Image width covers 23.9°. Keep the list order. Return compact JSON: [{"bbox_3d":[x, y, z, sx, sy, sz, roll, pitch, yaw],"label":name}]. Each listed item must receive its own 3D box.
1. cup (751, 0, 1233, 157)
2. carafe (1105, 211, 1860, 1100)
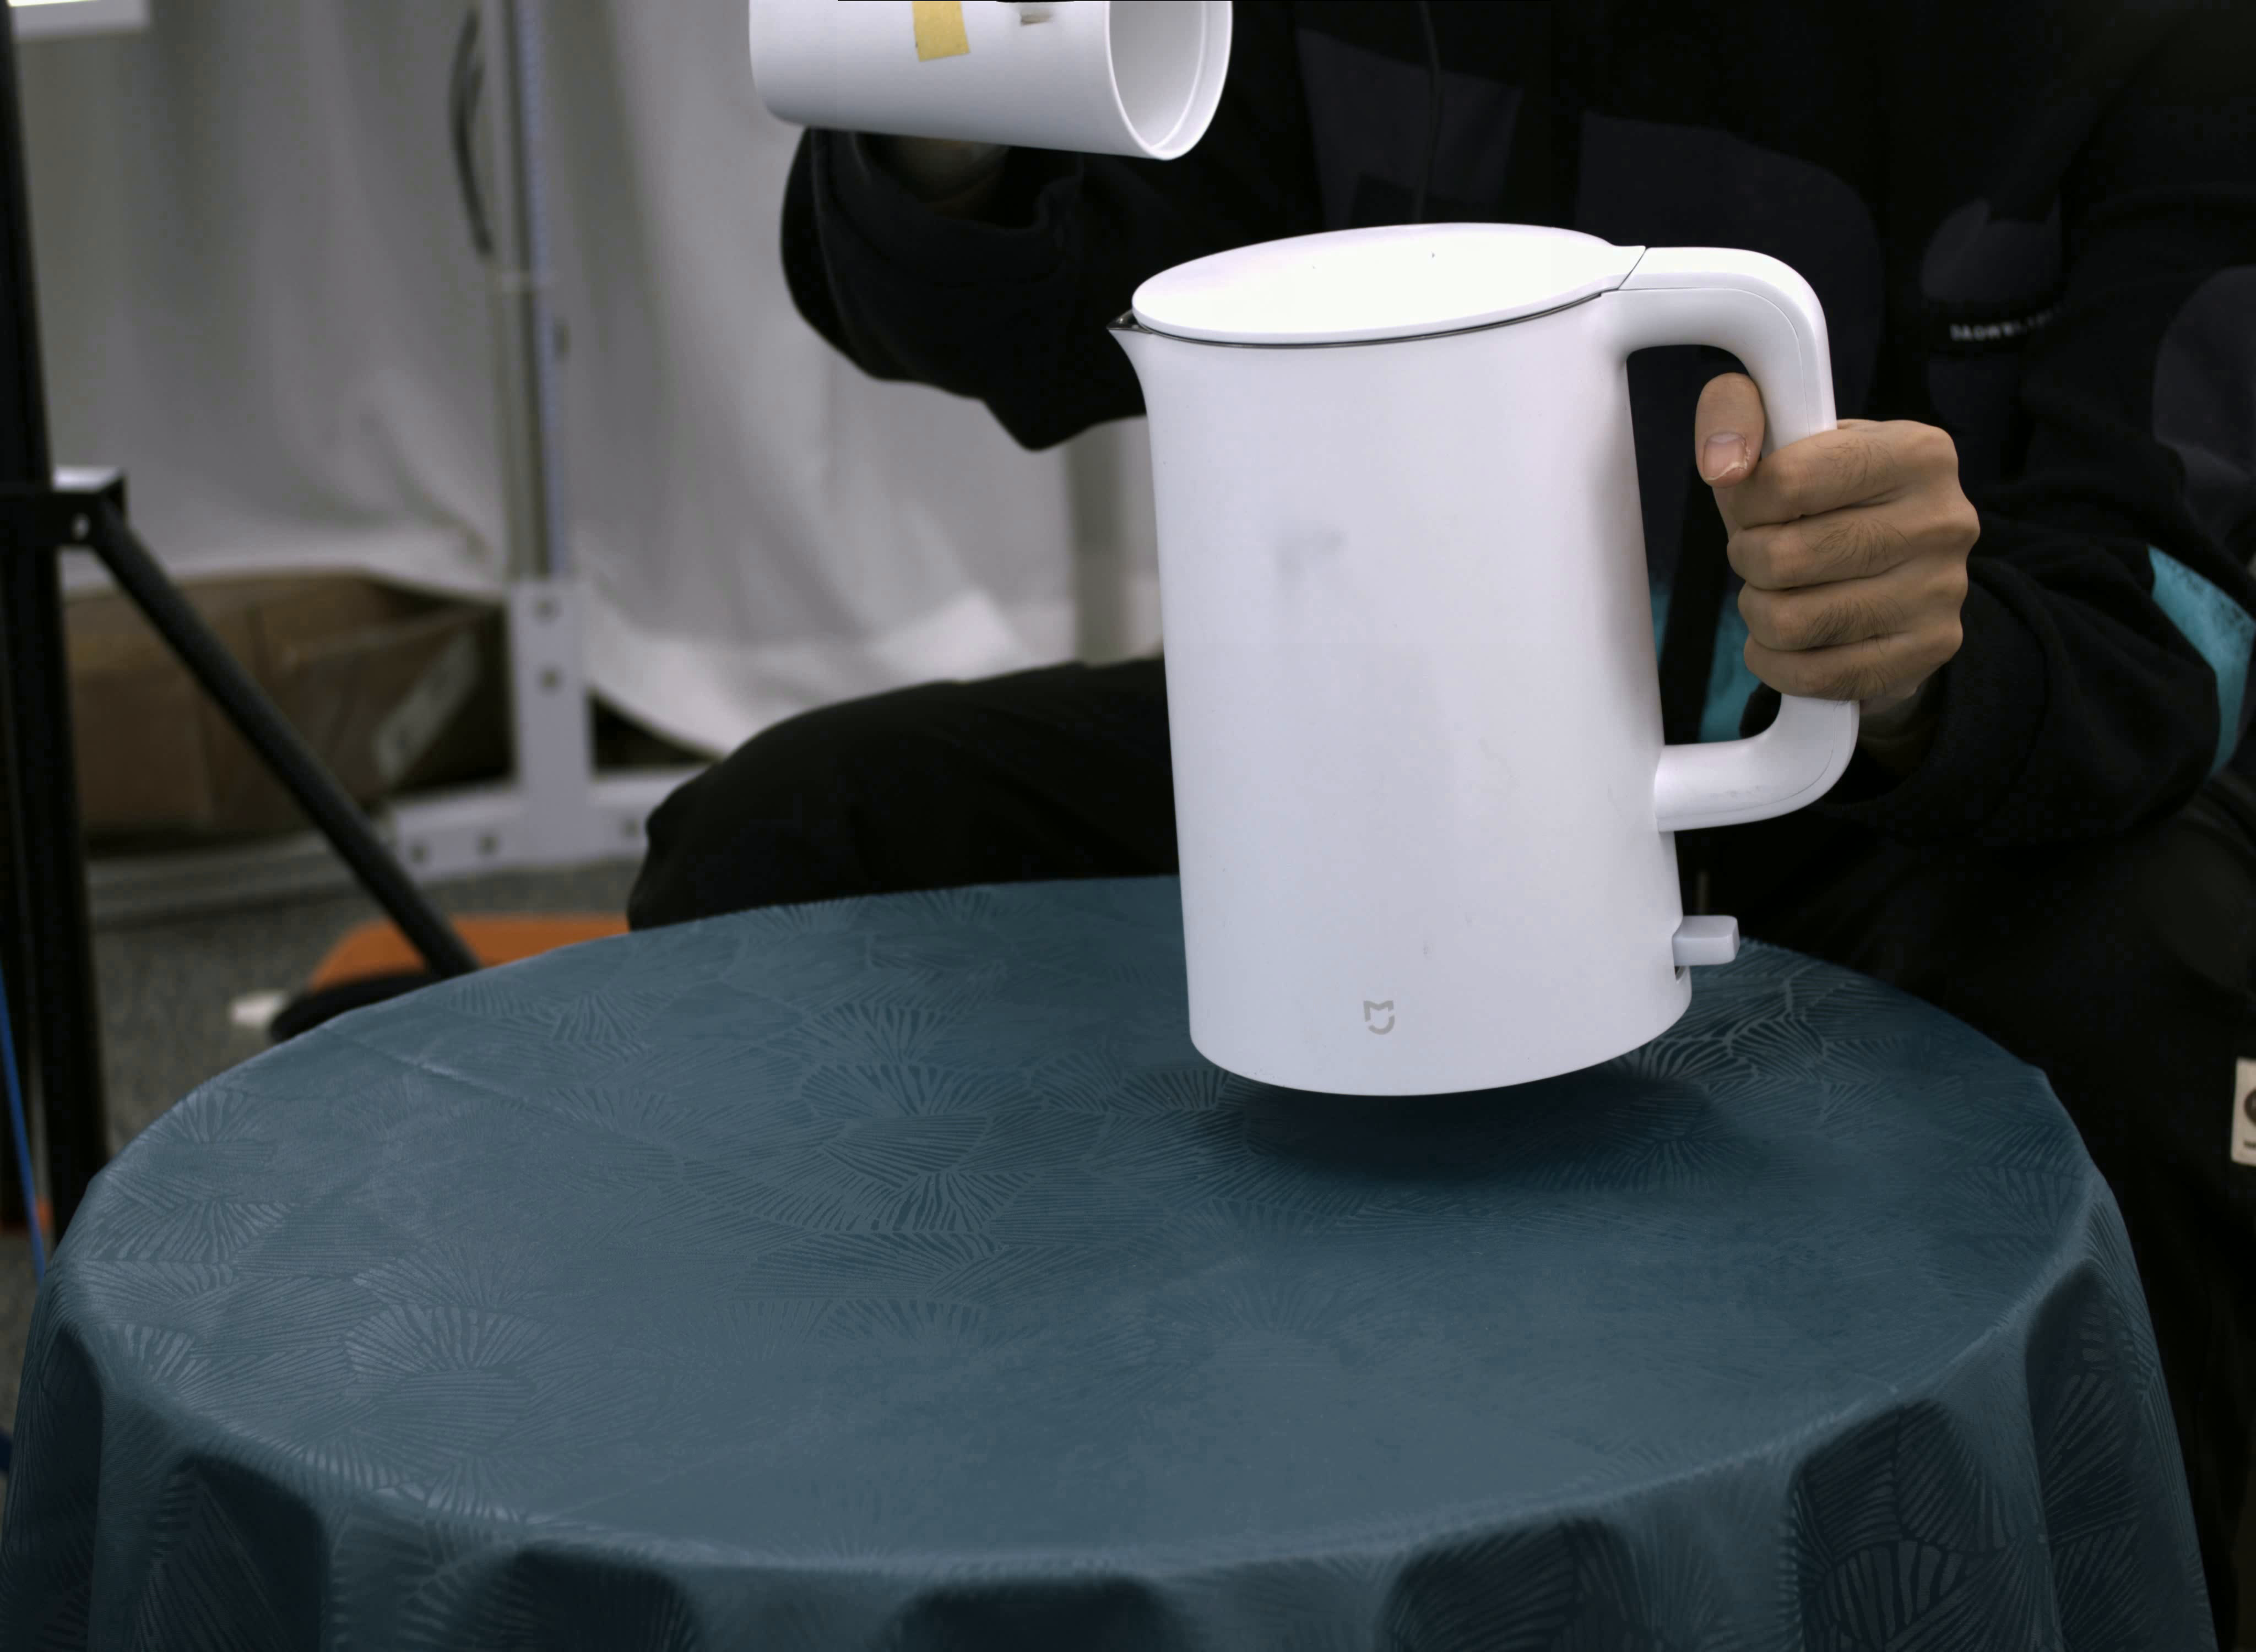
[{"bbox_3d":[-0.042,-0.241,1.580,0.127,0.081,0.080,6,18,28],"label":"cup"},{"bbox_3d":[0.108,-0.053,1.567,0.215,0.240,0.151,-2,17,16],"label":"carafe"}]
